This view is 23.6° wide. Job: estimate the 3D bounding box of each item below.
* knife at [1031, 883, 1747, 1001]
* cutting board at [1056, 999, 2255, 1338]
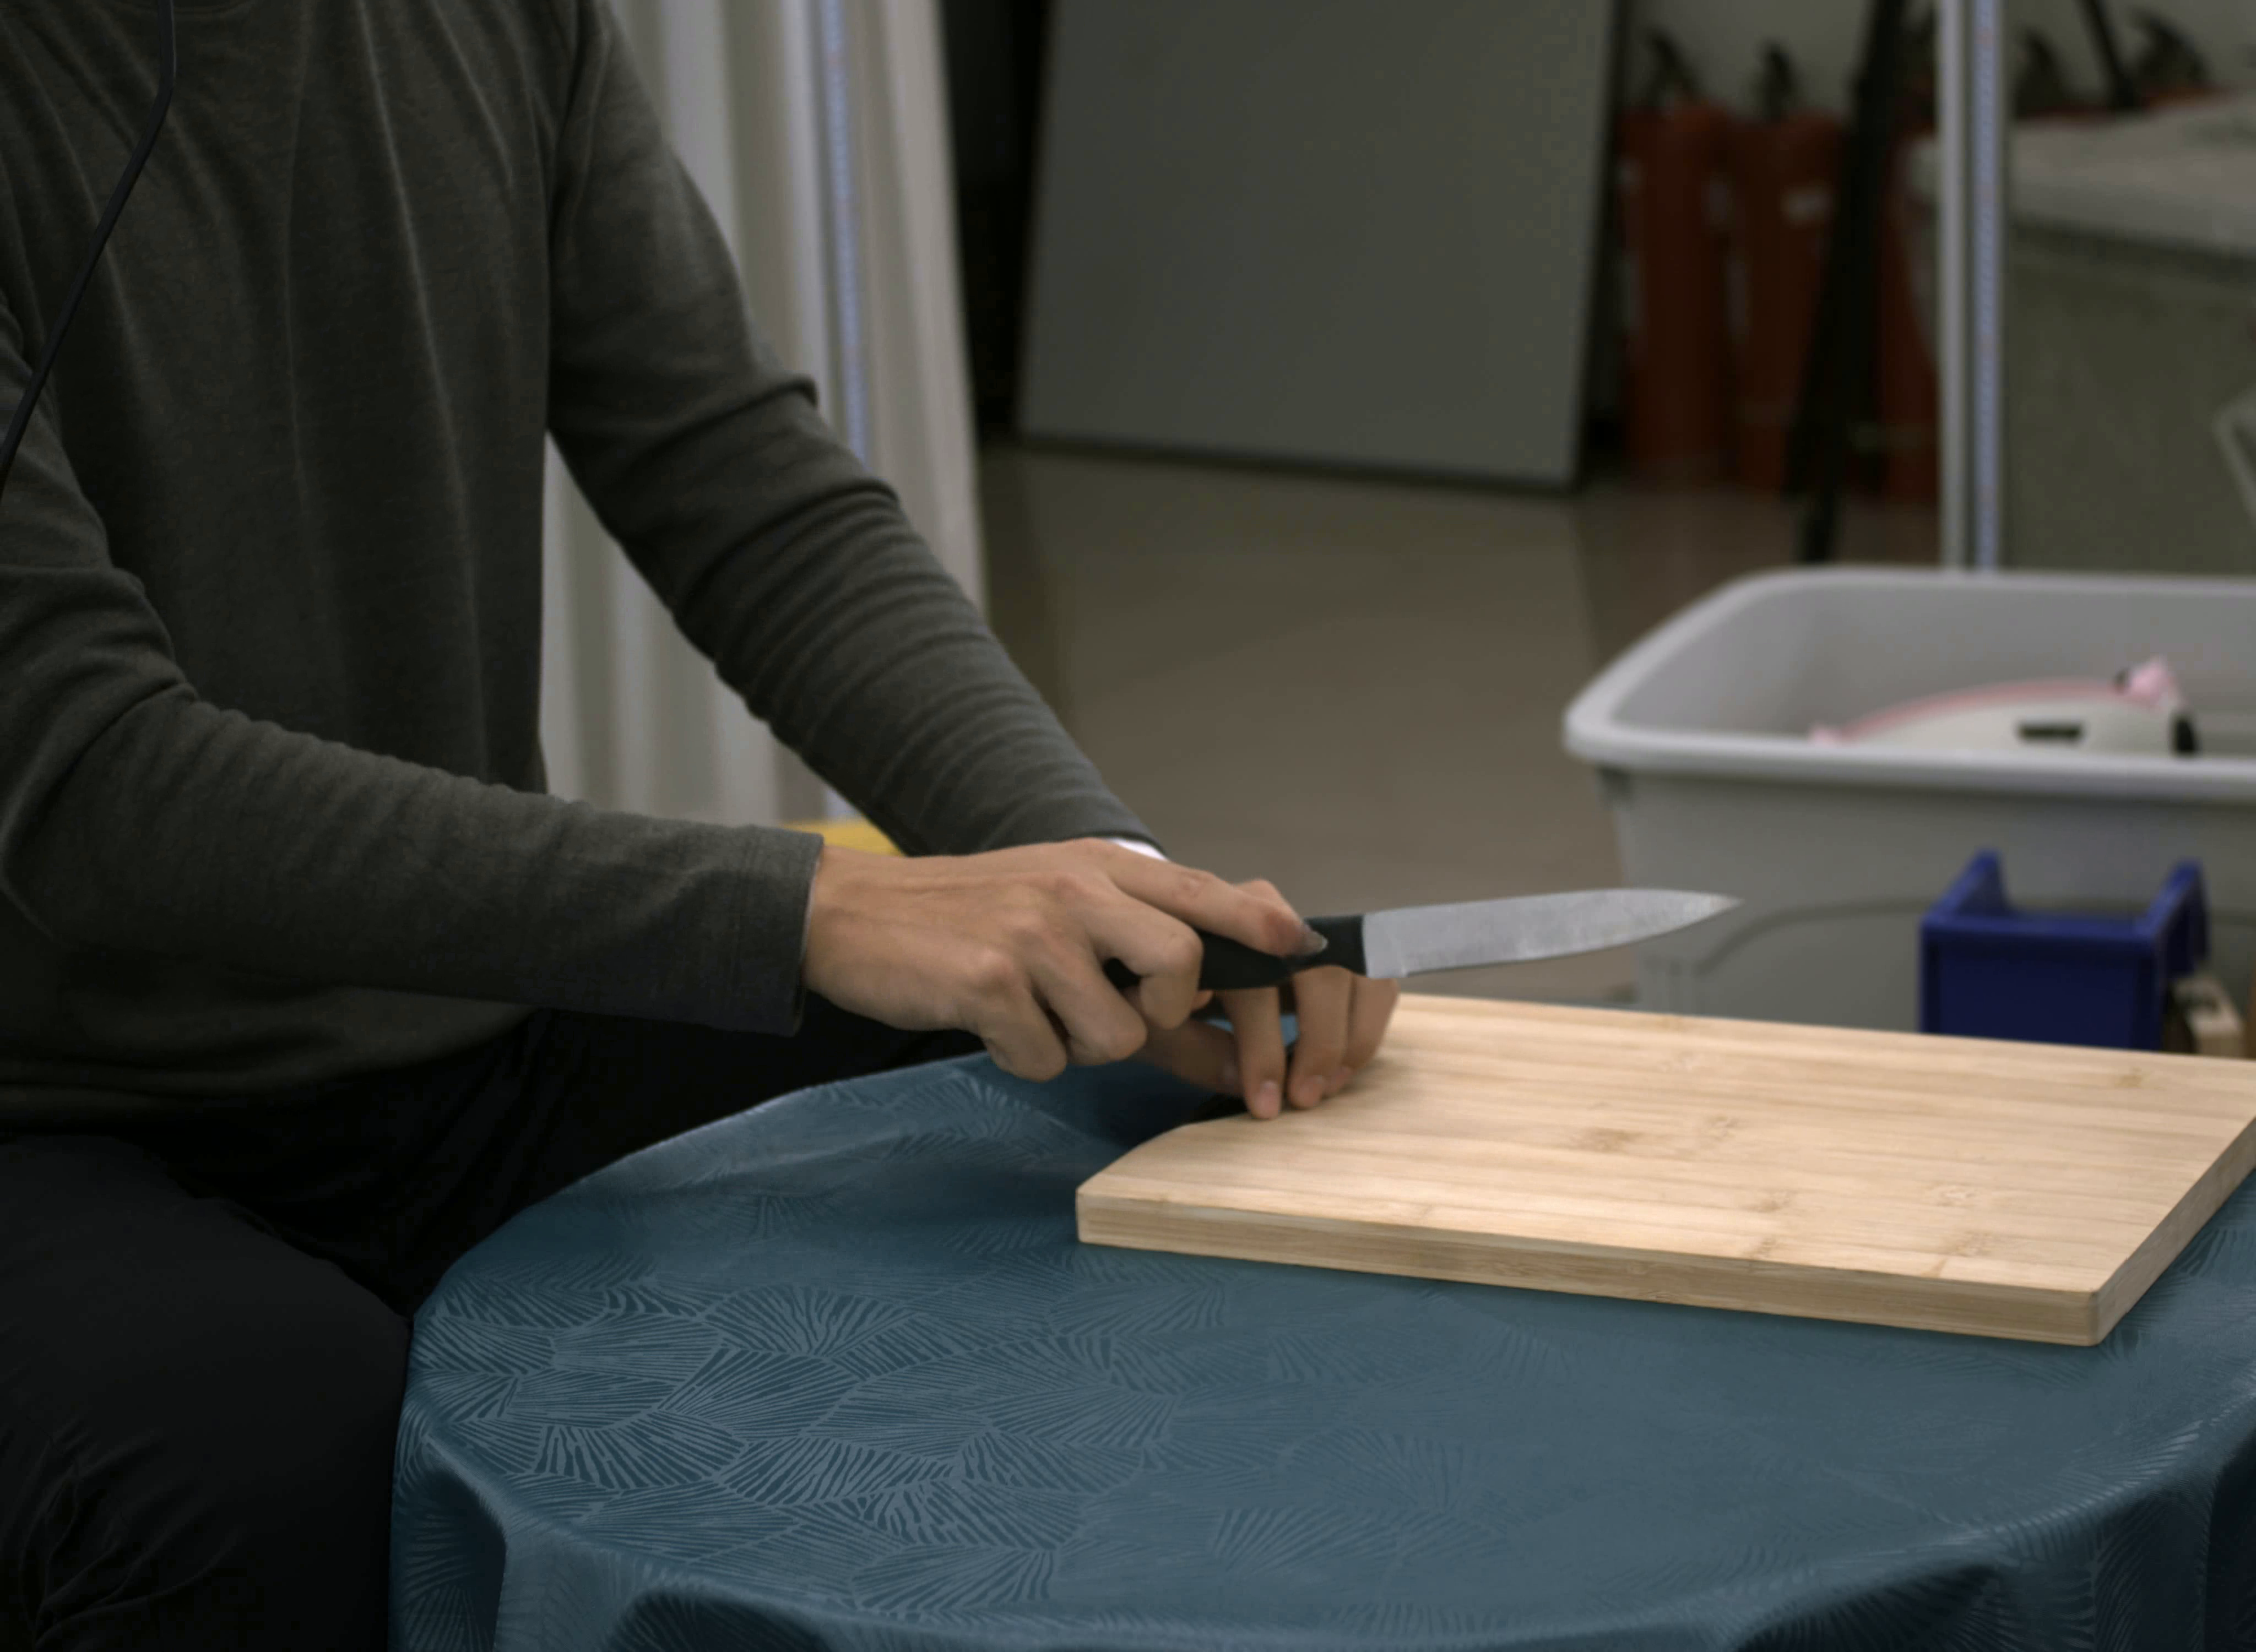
[{"bbox_3d":[0.083,0.035,1.744,0.237,0.025,0.016,-6,0,12],"label":"knife"},{"bbox_3d":[0.180,0.107,1.748,0.349,0.024,0.247,3,15,27],"label":"cutting board"}]
